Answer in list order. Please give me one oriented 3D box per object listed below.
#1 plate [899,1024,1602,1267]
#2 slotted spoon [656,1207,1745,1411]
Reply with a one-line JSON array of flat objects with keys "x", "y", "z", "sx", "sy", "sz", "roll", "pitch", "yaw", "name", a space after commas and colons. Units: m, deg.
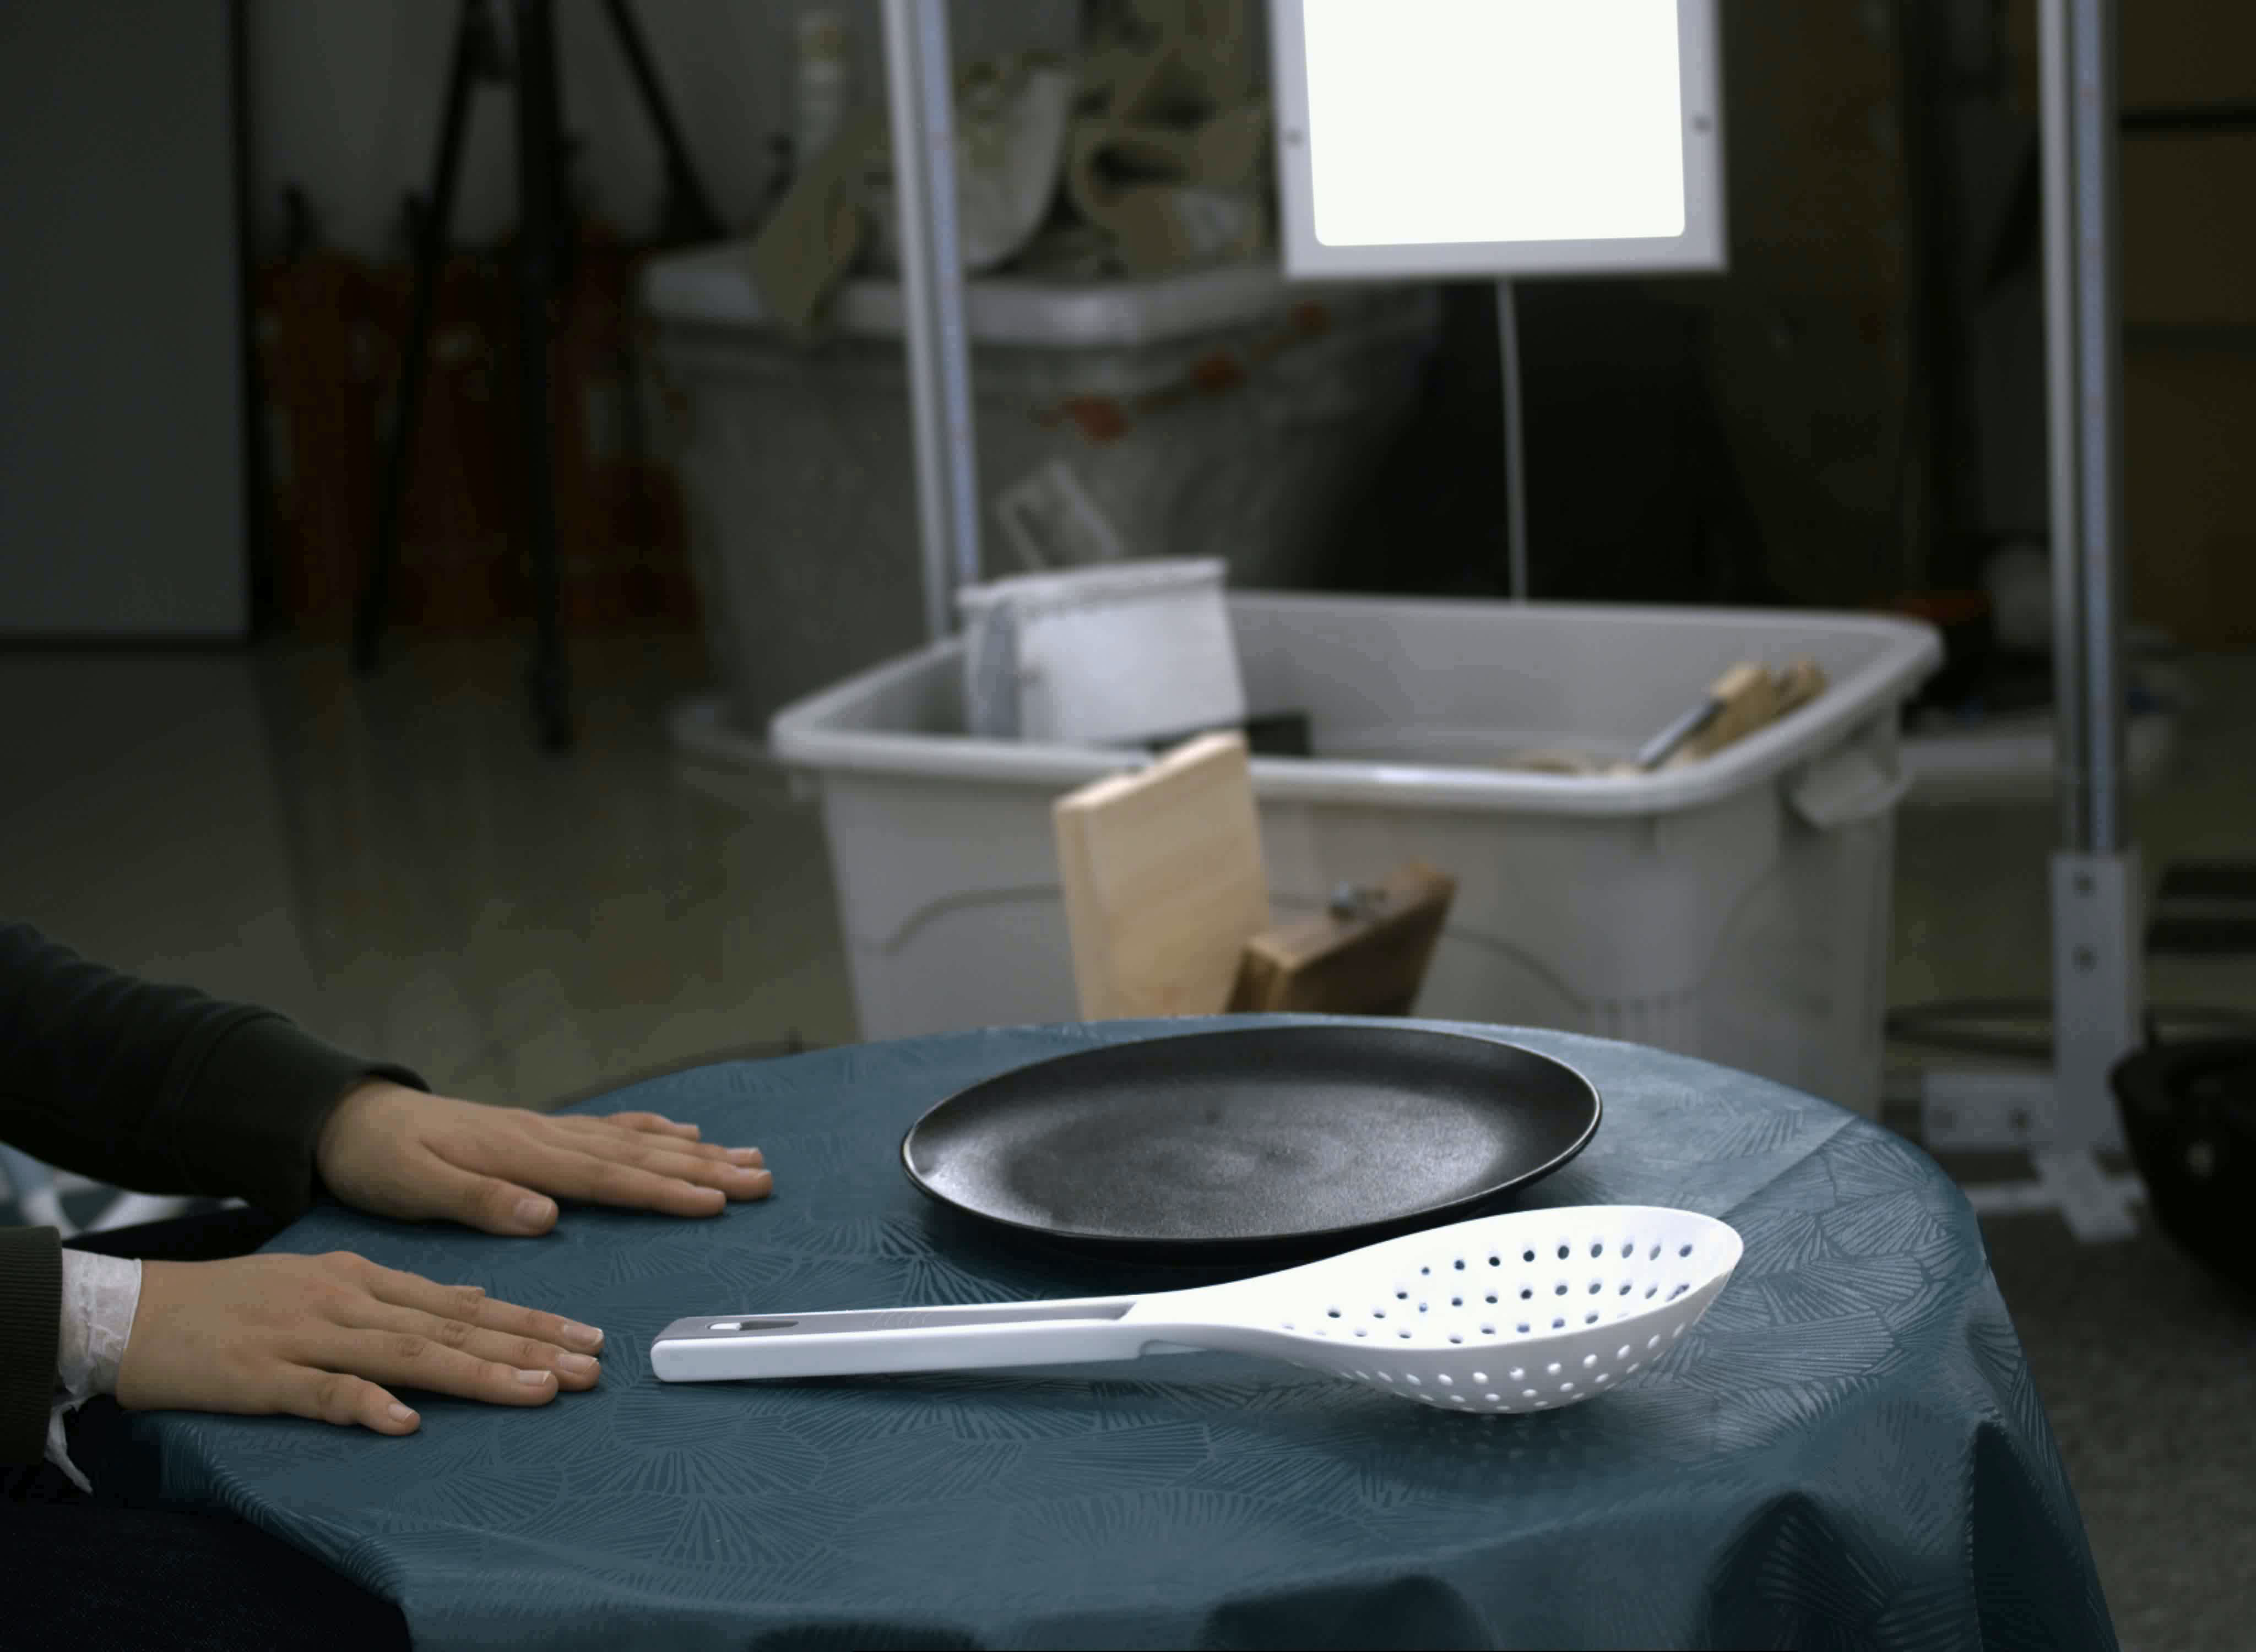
[{"x": 0.043, "y": 0.112, "z": 1.892, "sx": 0.244, "sy": 0.023, "sz": 0.244, "roll": -5, "pitch": 14, "yaw": 0, "name": "plate"}, {"x": 0.018, "y": 0.152, "z": 1.693, "sx": 0.354, "sy": 0.046, "sz": 0.134, "roll": -1, "pitch": 12, "yaw": 20, "name": "slotted spoon"}]
